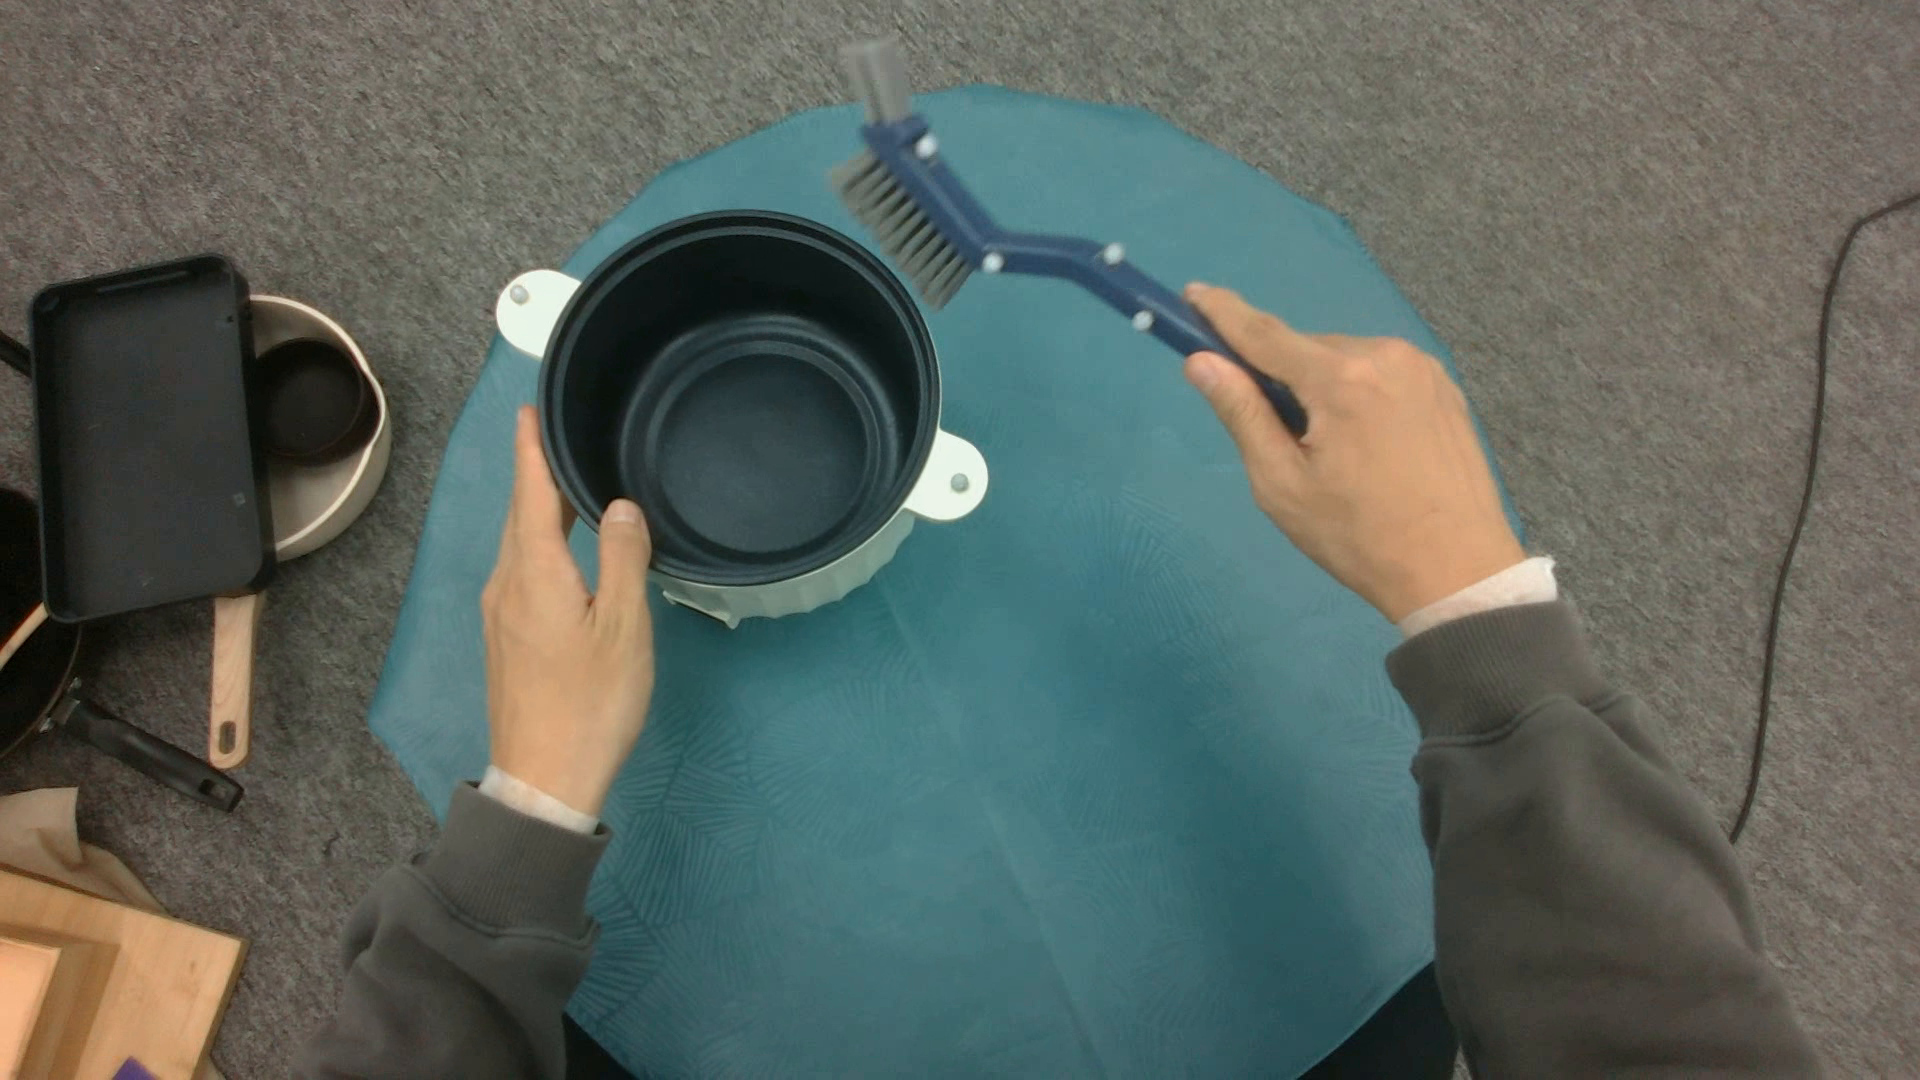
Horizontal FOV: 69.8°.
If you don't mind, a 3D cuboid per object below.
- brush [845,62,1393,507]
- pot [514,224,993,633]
[{"bbox_3d":[0.069,-0.105,0.582,0.273,0.095,0.033,27,32,10],"label":"brush"},{"bbox_3d":[-0.097,-0.054,0.704,0.240,0.142,0.191,22,80,3],"label":"pot"}]
